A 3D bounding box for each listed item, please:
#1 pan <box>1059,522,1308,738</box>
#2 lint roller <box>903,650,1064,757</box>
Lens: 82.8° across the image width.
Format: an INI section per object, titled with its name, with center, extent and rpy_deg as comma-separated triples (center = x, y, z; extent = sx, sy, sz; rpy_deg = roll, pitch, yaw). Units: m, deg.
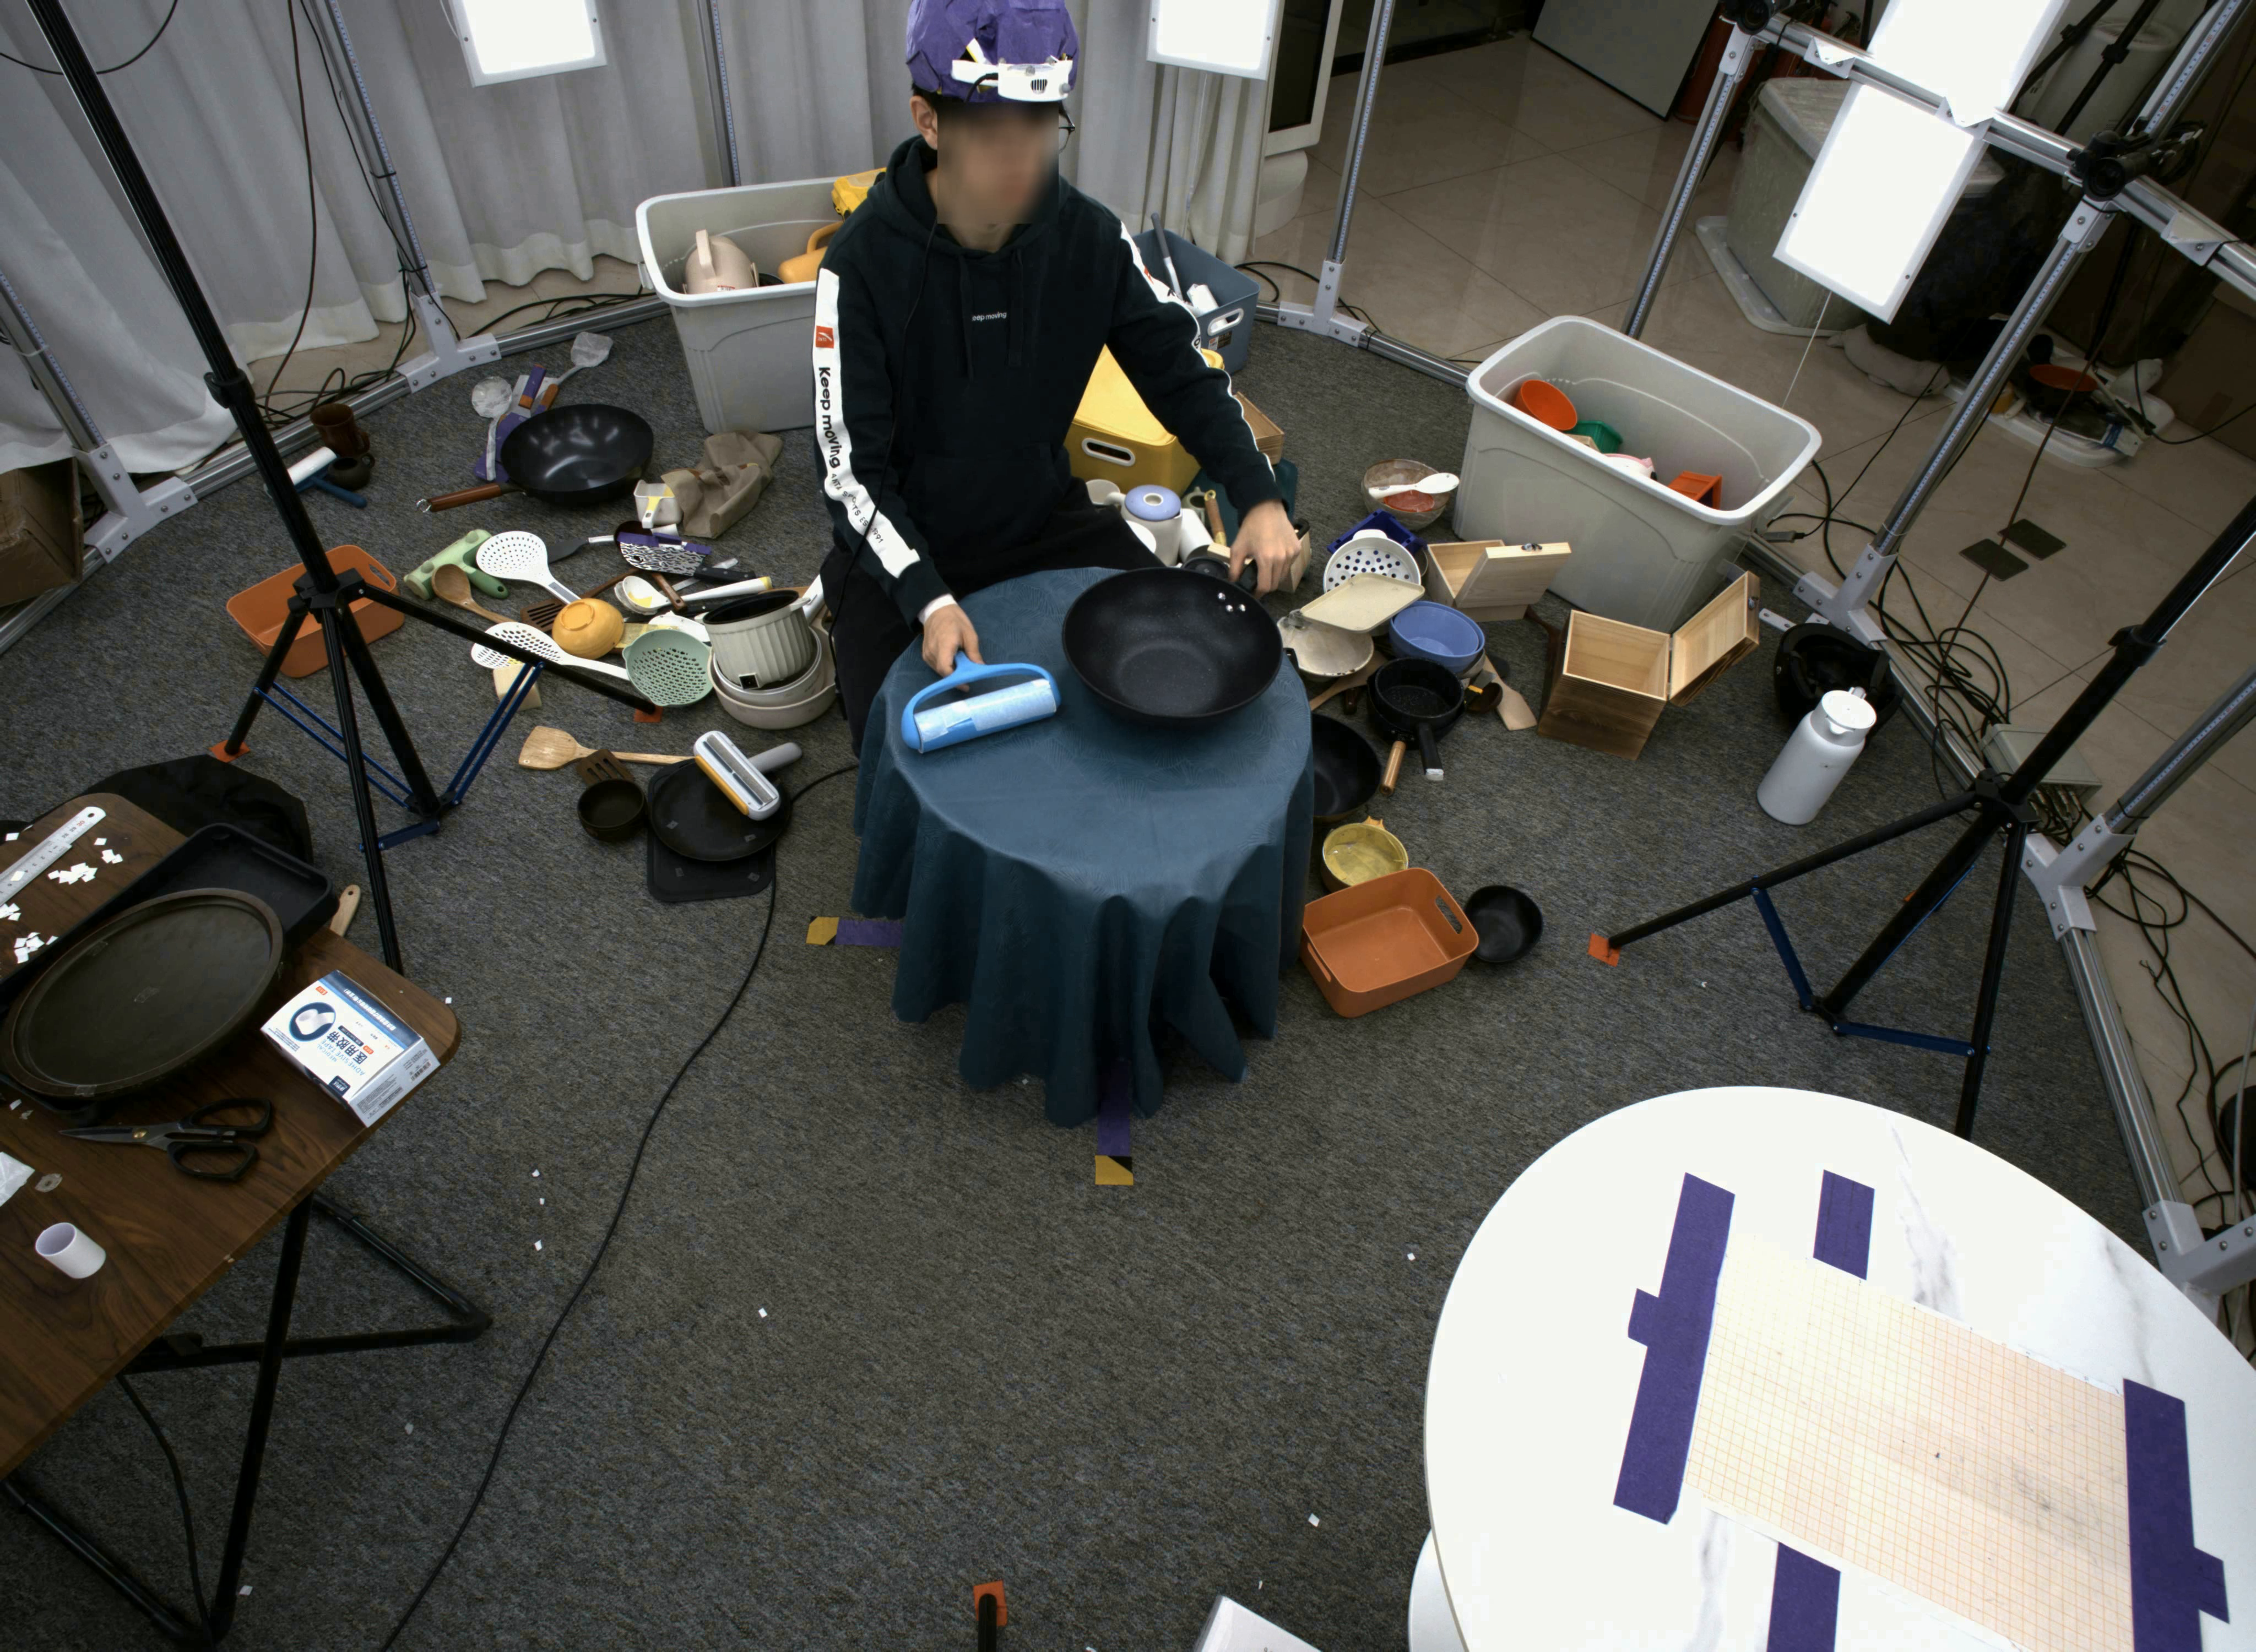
[pan]
center = 0.109, -0.285, 1.854
extent = 0.314, 0.109, 0.482
rpy_deg = 34, 55, 21
[lint roller]
center = -0.222, -0.194, 1.781
extent = 0.229, 0.066, 0.184
rpy_deg = -22, 59, -18
